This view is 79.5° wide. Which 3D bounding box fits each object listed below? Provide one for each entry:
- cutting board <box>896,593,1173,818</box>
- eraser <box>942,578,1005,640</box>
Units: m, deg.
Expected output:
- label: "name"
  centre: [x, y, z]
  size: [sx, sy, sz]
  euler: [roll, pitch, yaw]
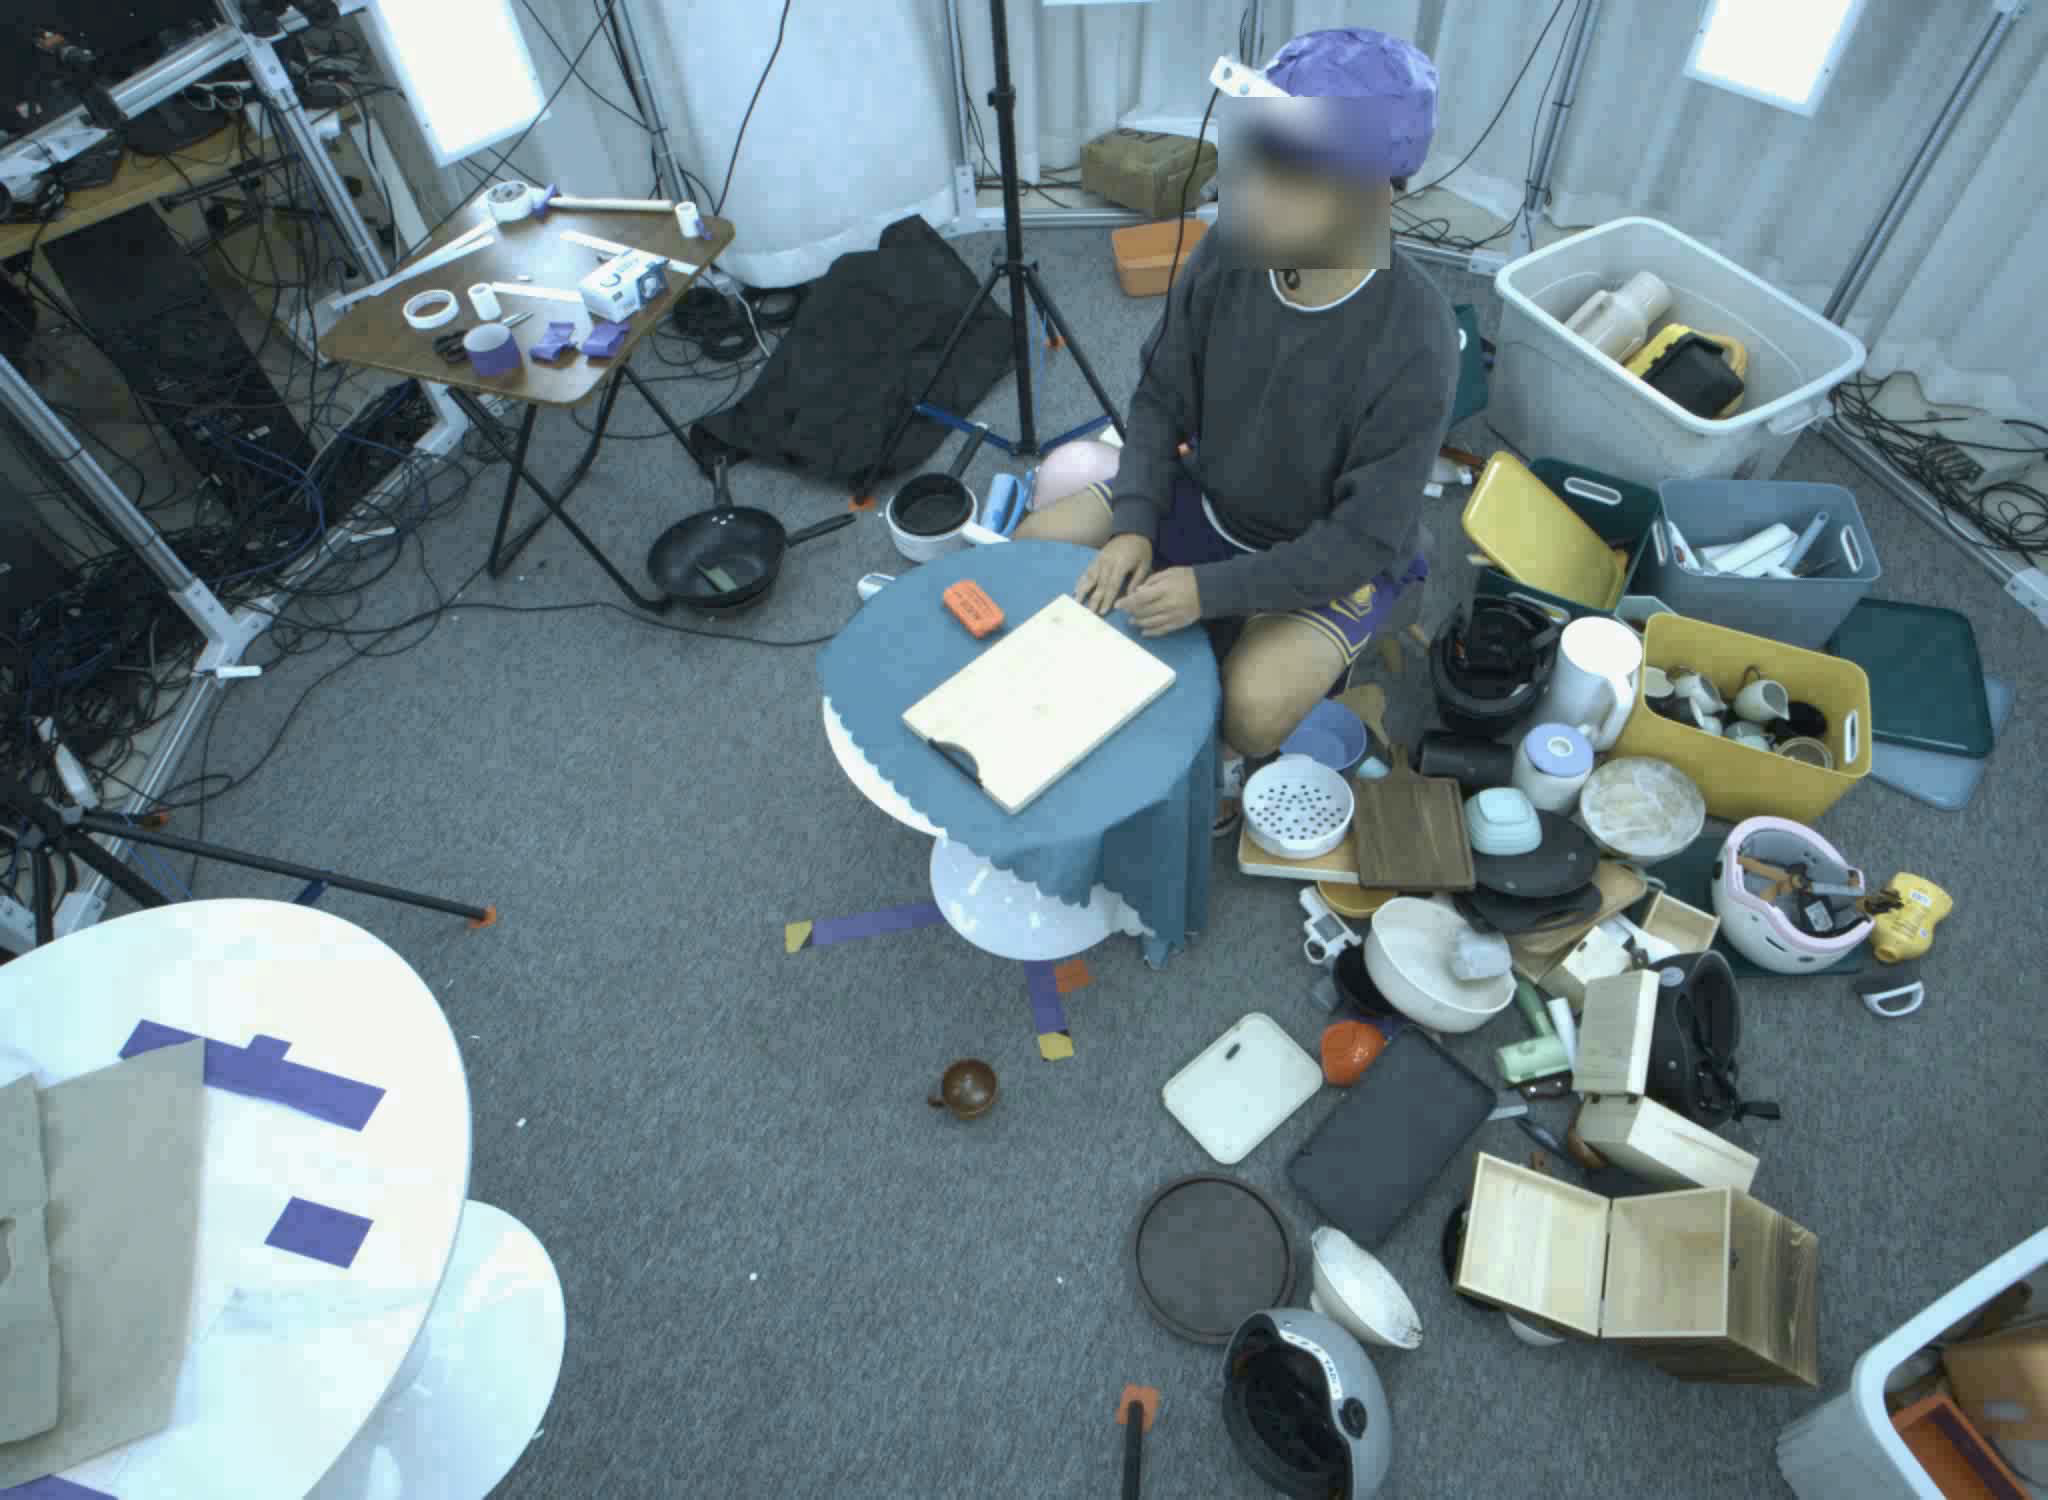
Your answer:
- label: "cutting board"
  centre: [0.019, -0.076, 1.833]
  size: [0.246, 0.024, 0.351]
  euler: [38, 64, 25]
- label: "eraser"
  centre: [-0.080, -0.223, 1.936]
  size: [0.059, 0.023, 0.106]
  euler: [-30, 60, -17]
